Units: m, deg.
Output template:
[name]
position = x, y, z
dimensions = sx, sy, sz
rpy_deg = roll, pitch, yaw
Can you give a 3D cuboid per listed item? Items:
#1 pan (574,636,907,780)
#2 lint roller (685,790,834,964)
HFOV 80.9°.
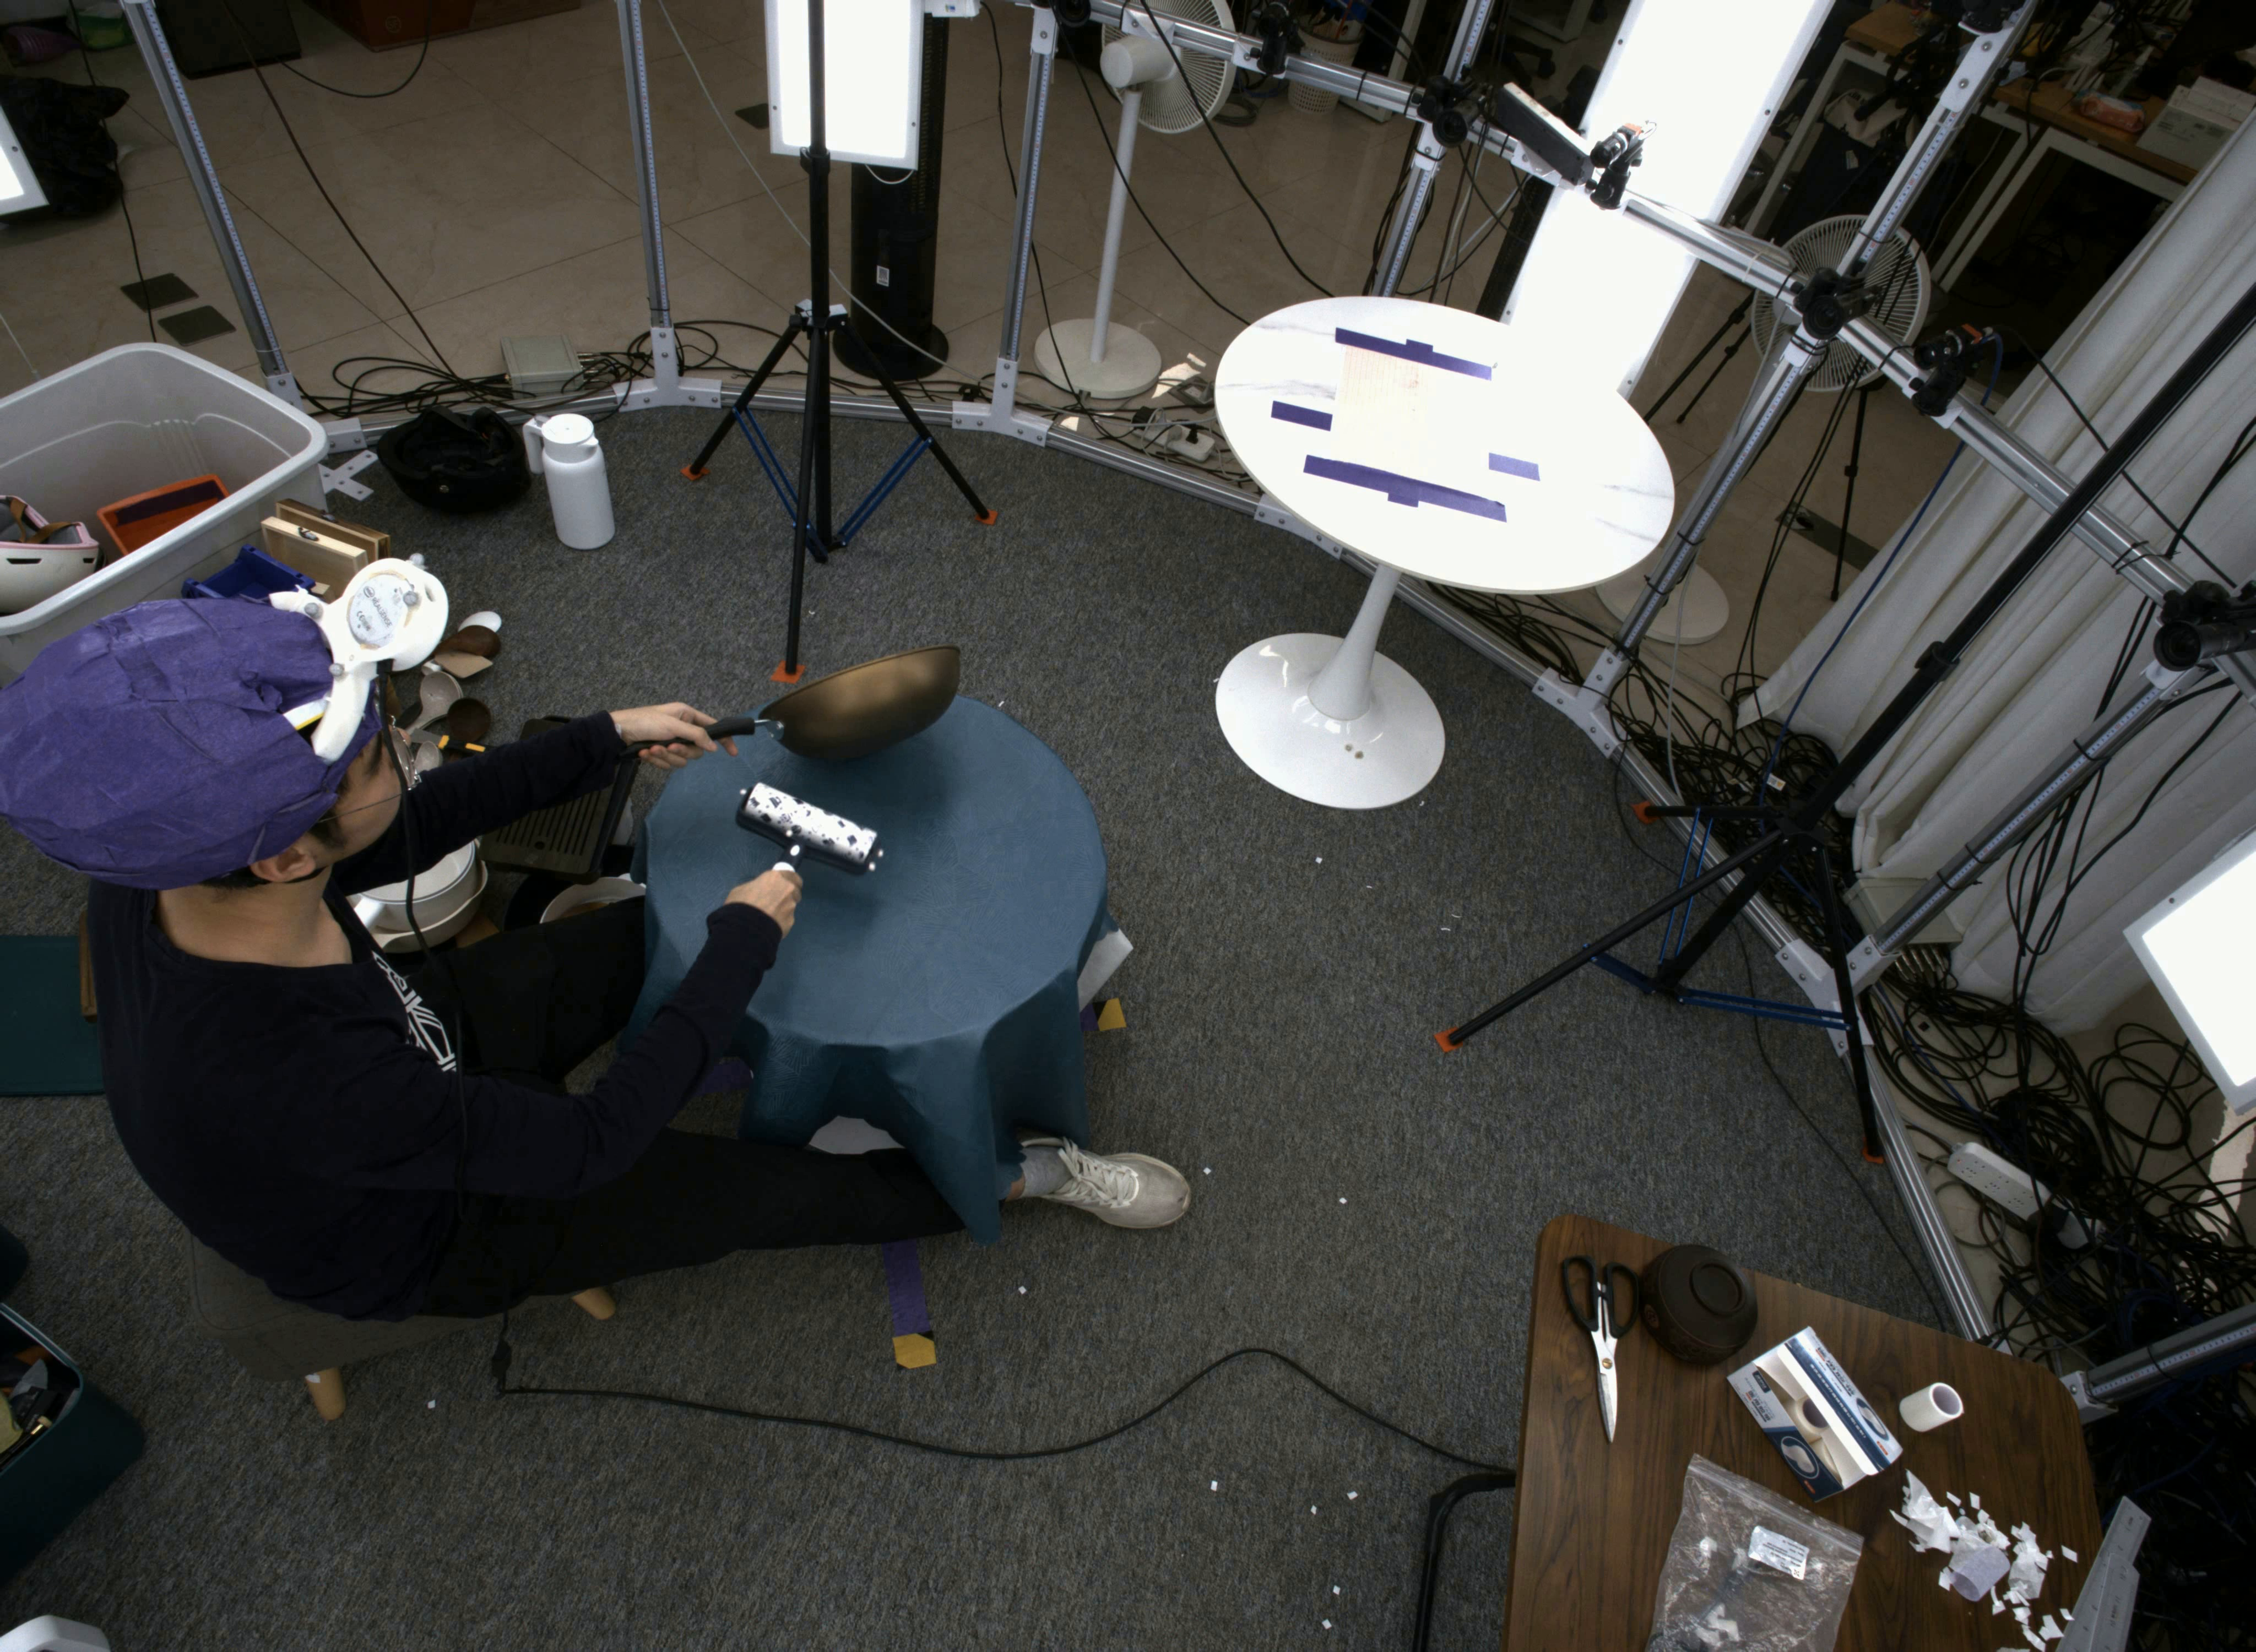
[pan]
position = -0.475, -0.117, 1.640
dimensions = 0.466, 0.284, 0.087
rpy_deg = -24, 89, -31
[lint roller]
position = -0.461, 0.063, 1.522
dimensions = 0.177, 0.051, 0.242
rpy_deg = 20, 37, -11
